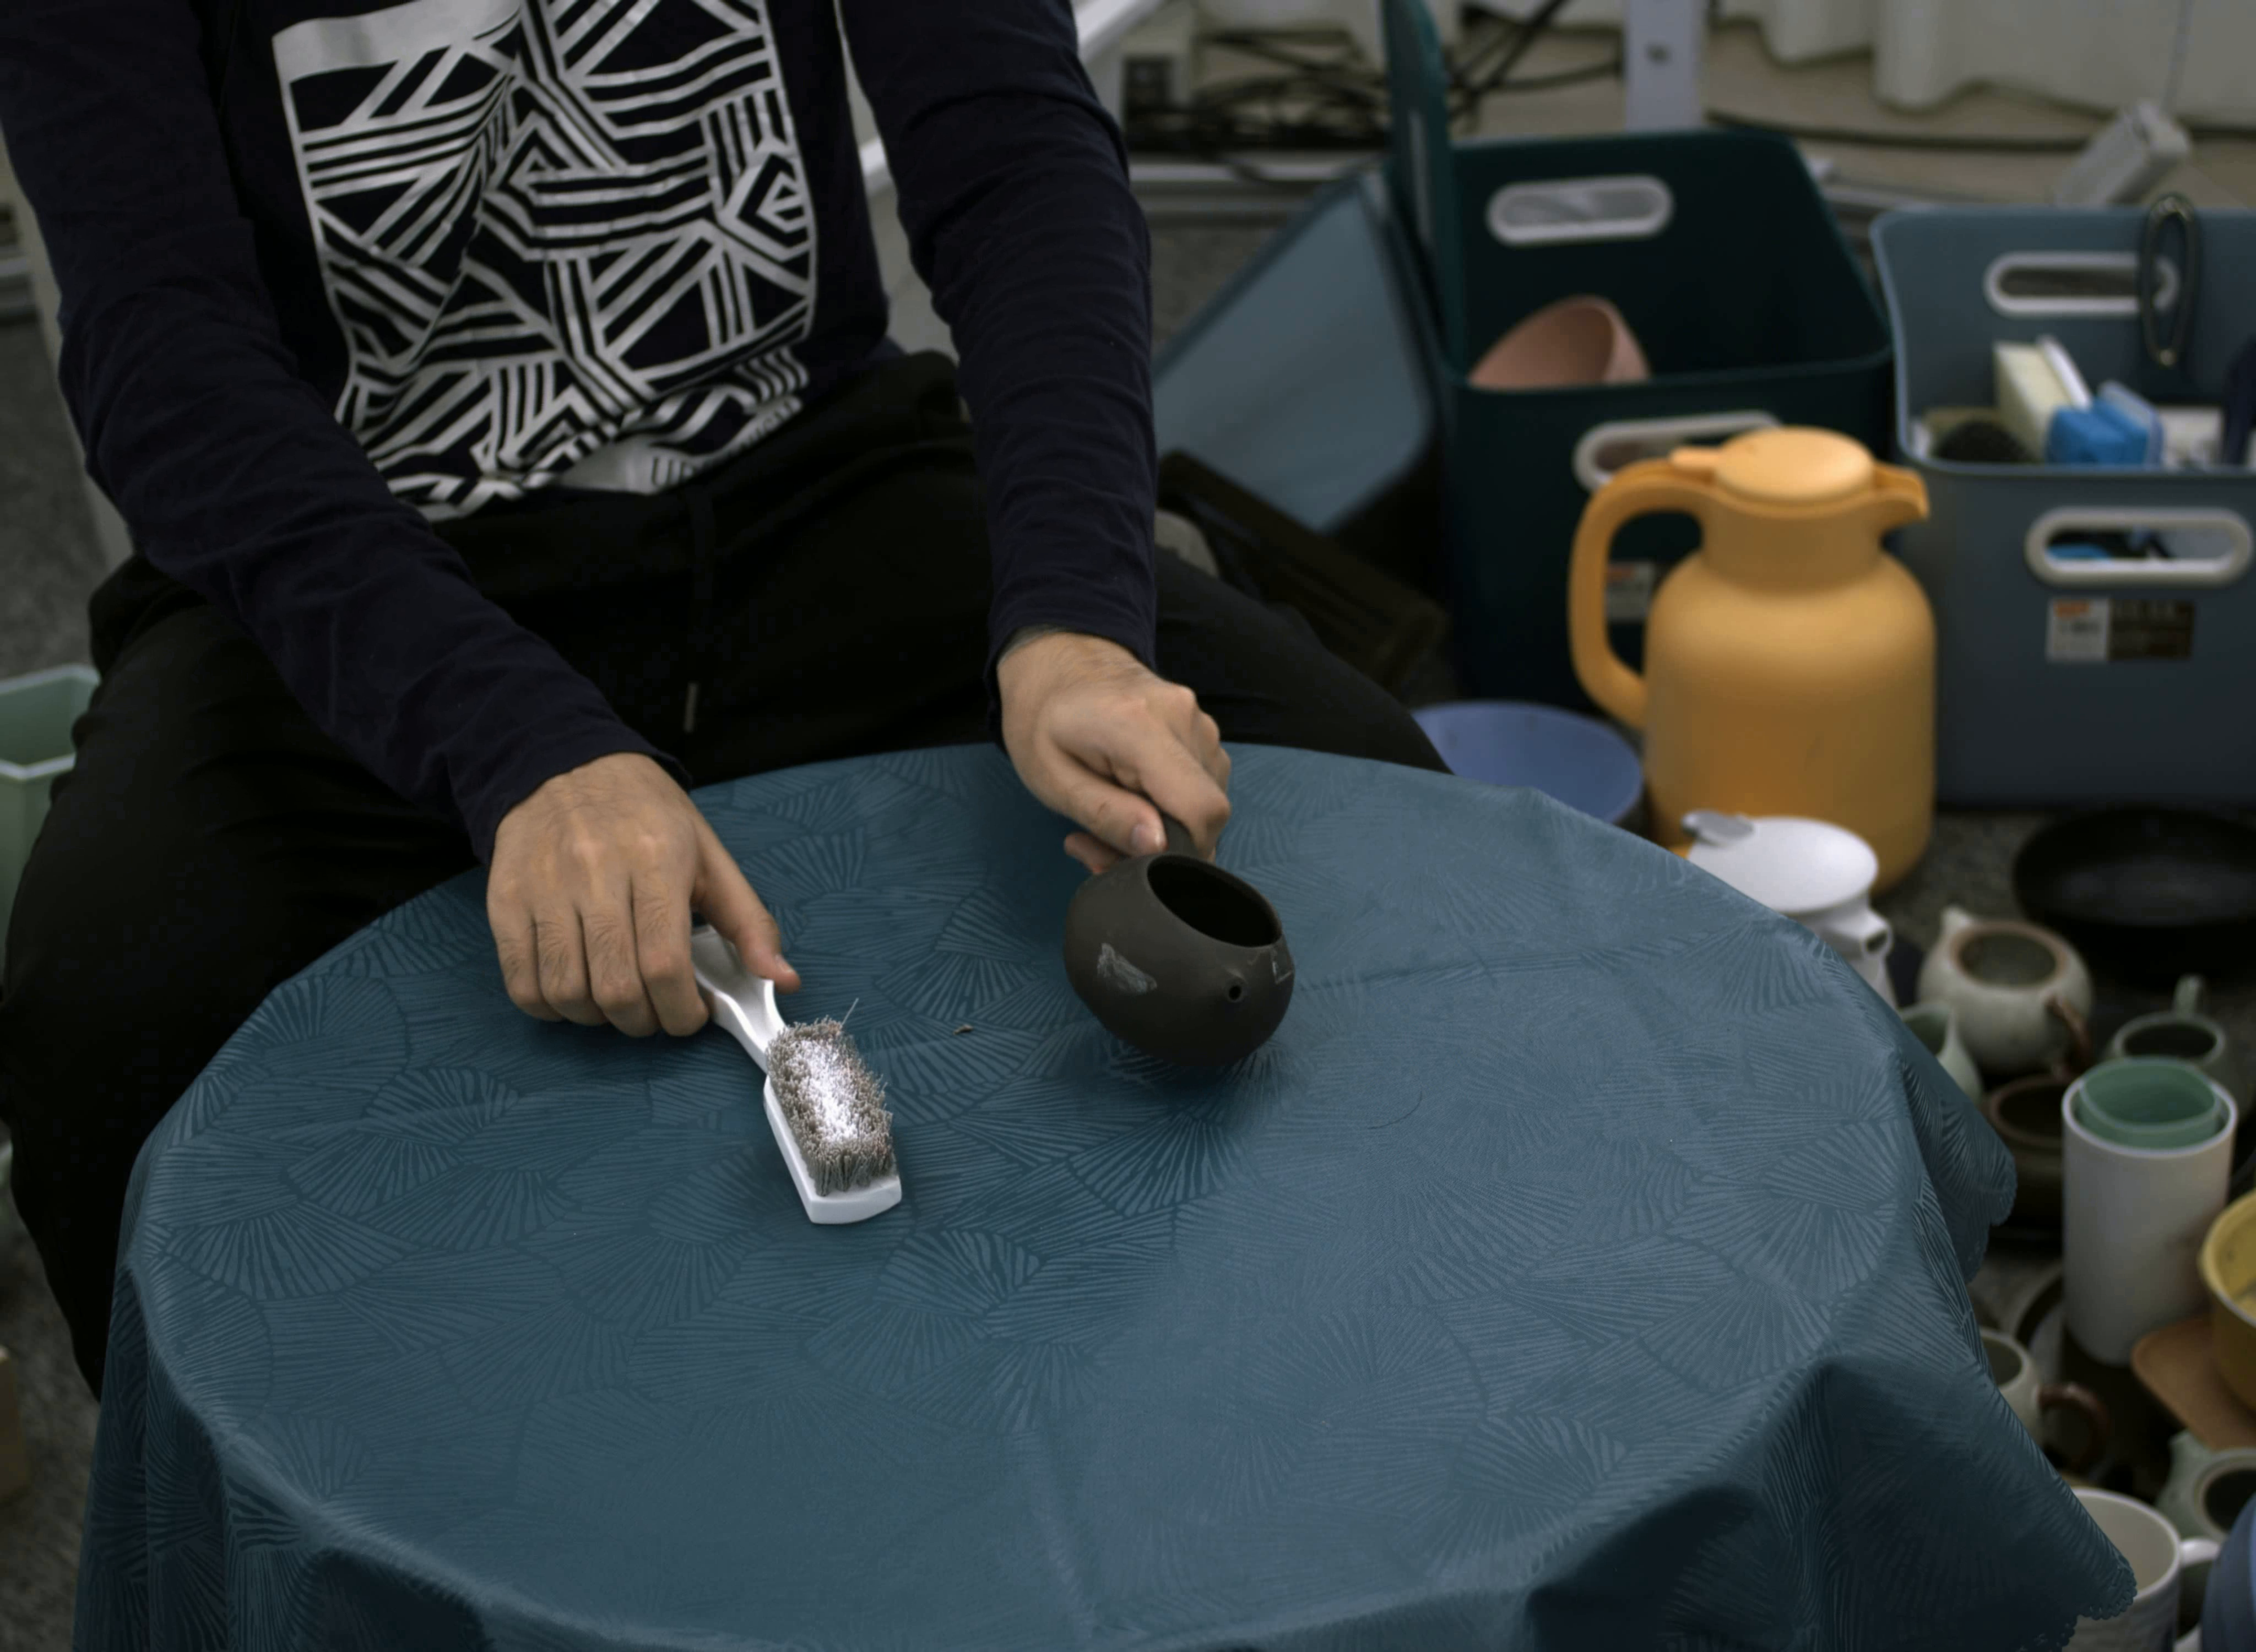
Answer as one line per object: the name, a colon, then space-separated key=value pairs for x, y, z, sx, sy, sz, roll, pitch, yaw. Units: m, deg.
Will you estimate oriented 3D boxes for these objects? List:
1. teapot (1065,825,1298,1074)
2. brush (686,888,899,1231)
teapot: x=0.016 y=0.040 z=1.933 sx=0.083 sy=0.052 sz=0.116 roll=15 pitch=29 yaw=-24
brush: x=-0.122 y=0.063 z=1.934 sx=0.034 sy=0.050 sz=0.246 roll=-14 pitch=29 yaw=-10
